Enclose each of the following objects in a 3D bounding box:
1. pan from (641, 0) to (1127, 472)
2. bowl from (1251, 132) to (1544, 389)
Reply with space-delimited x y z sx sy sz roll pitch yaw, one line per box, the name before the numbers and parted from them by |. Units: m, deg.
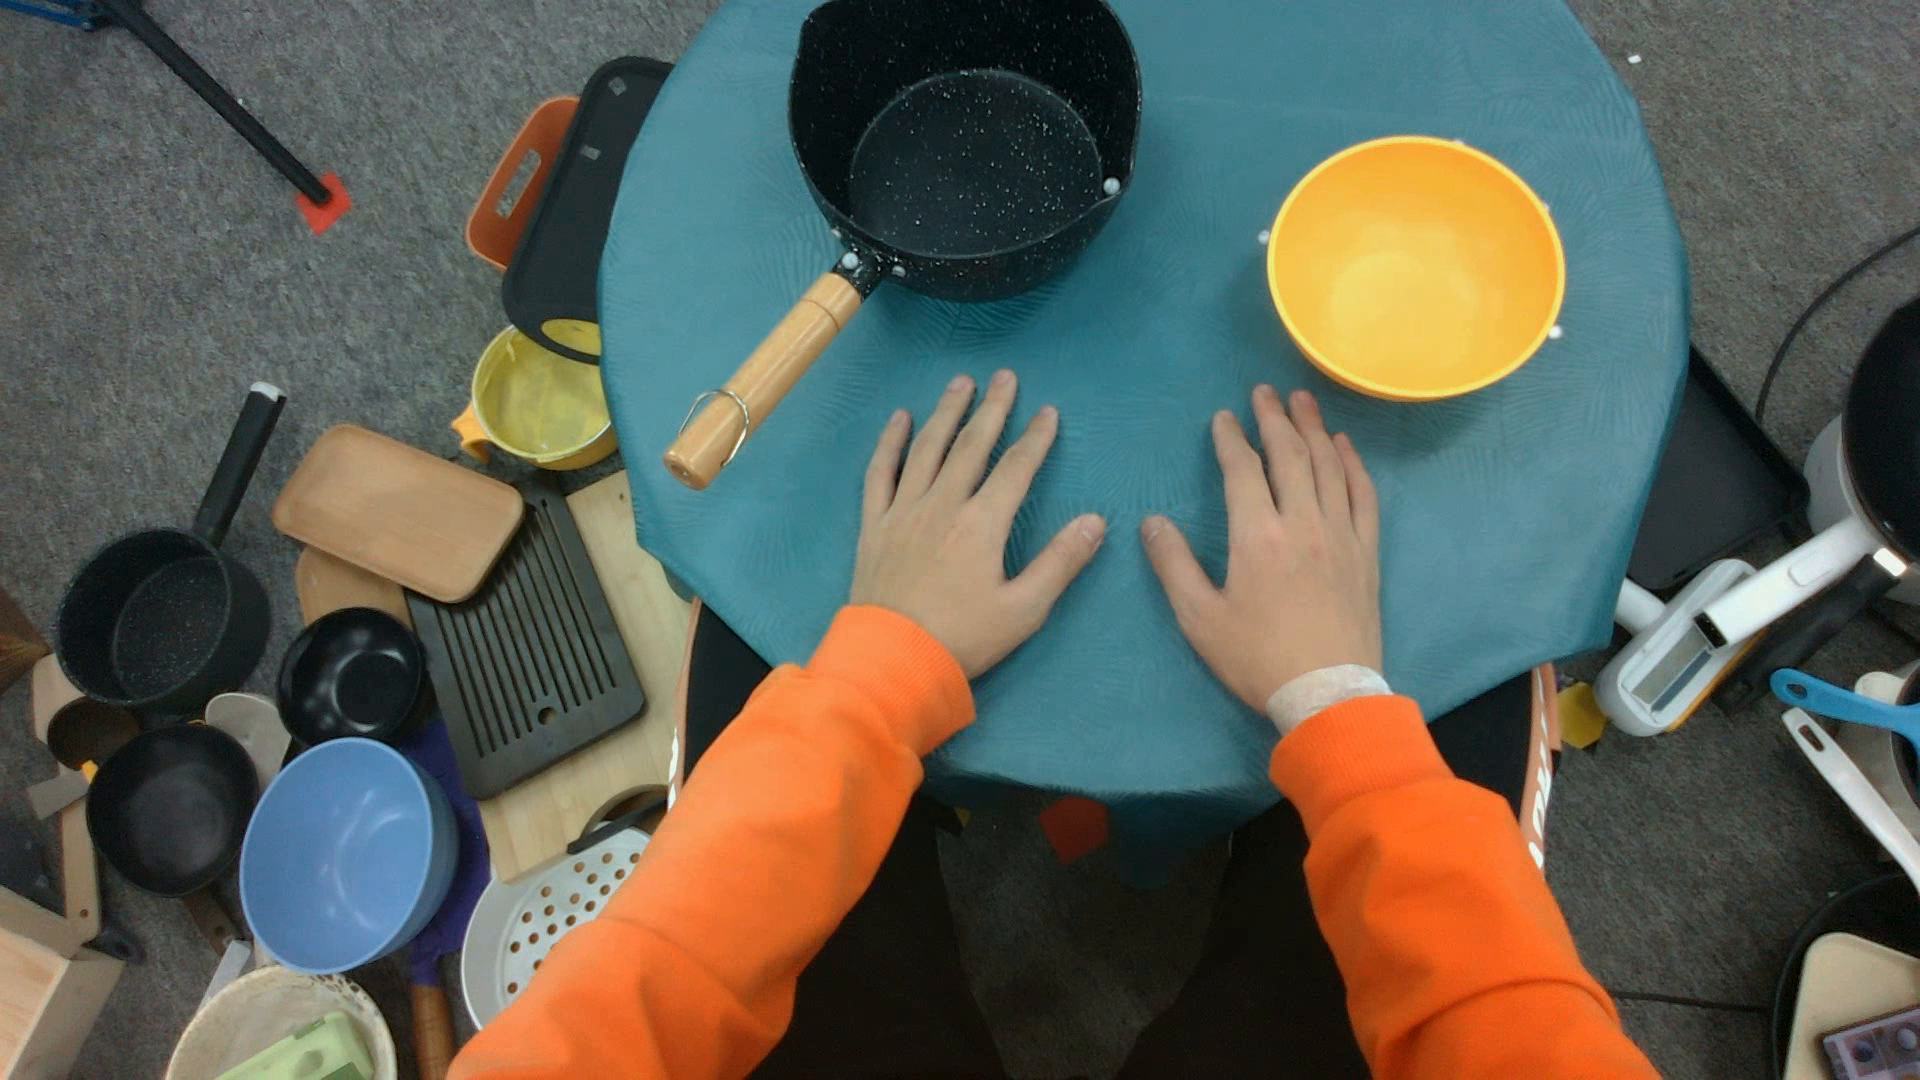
pan | -0.046 -0.161 0.725 0.207 0.108 0.343 30 76 11
bowl | 0.224 -0.137 0.725 0.145 0.060 0.145 -2 73 5
